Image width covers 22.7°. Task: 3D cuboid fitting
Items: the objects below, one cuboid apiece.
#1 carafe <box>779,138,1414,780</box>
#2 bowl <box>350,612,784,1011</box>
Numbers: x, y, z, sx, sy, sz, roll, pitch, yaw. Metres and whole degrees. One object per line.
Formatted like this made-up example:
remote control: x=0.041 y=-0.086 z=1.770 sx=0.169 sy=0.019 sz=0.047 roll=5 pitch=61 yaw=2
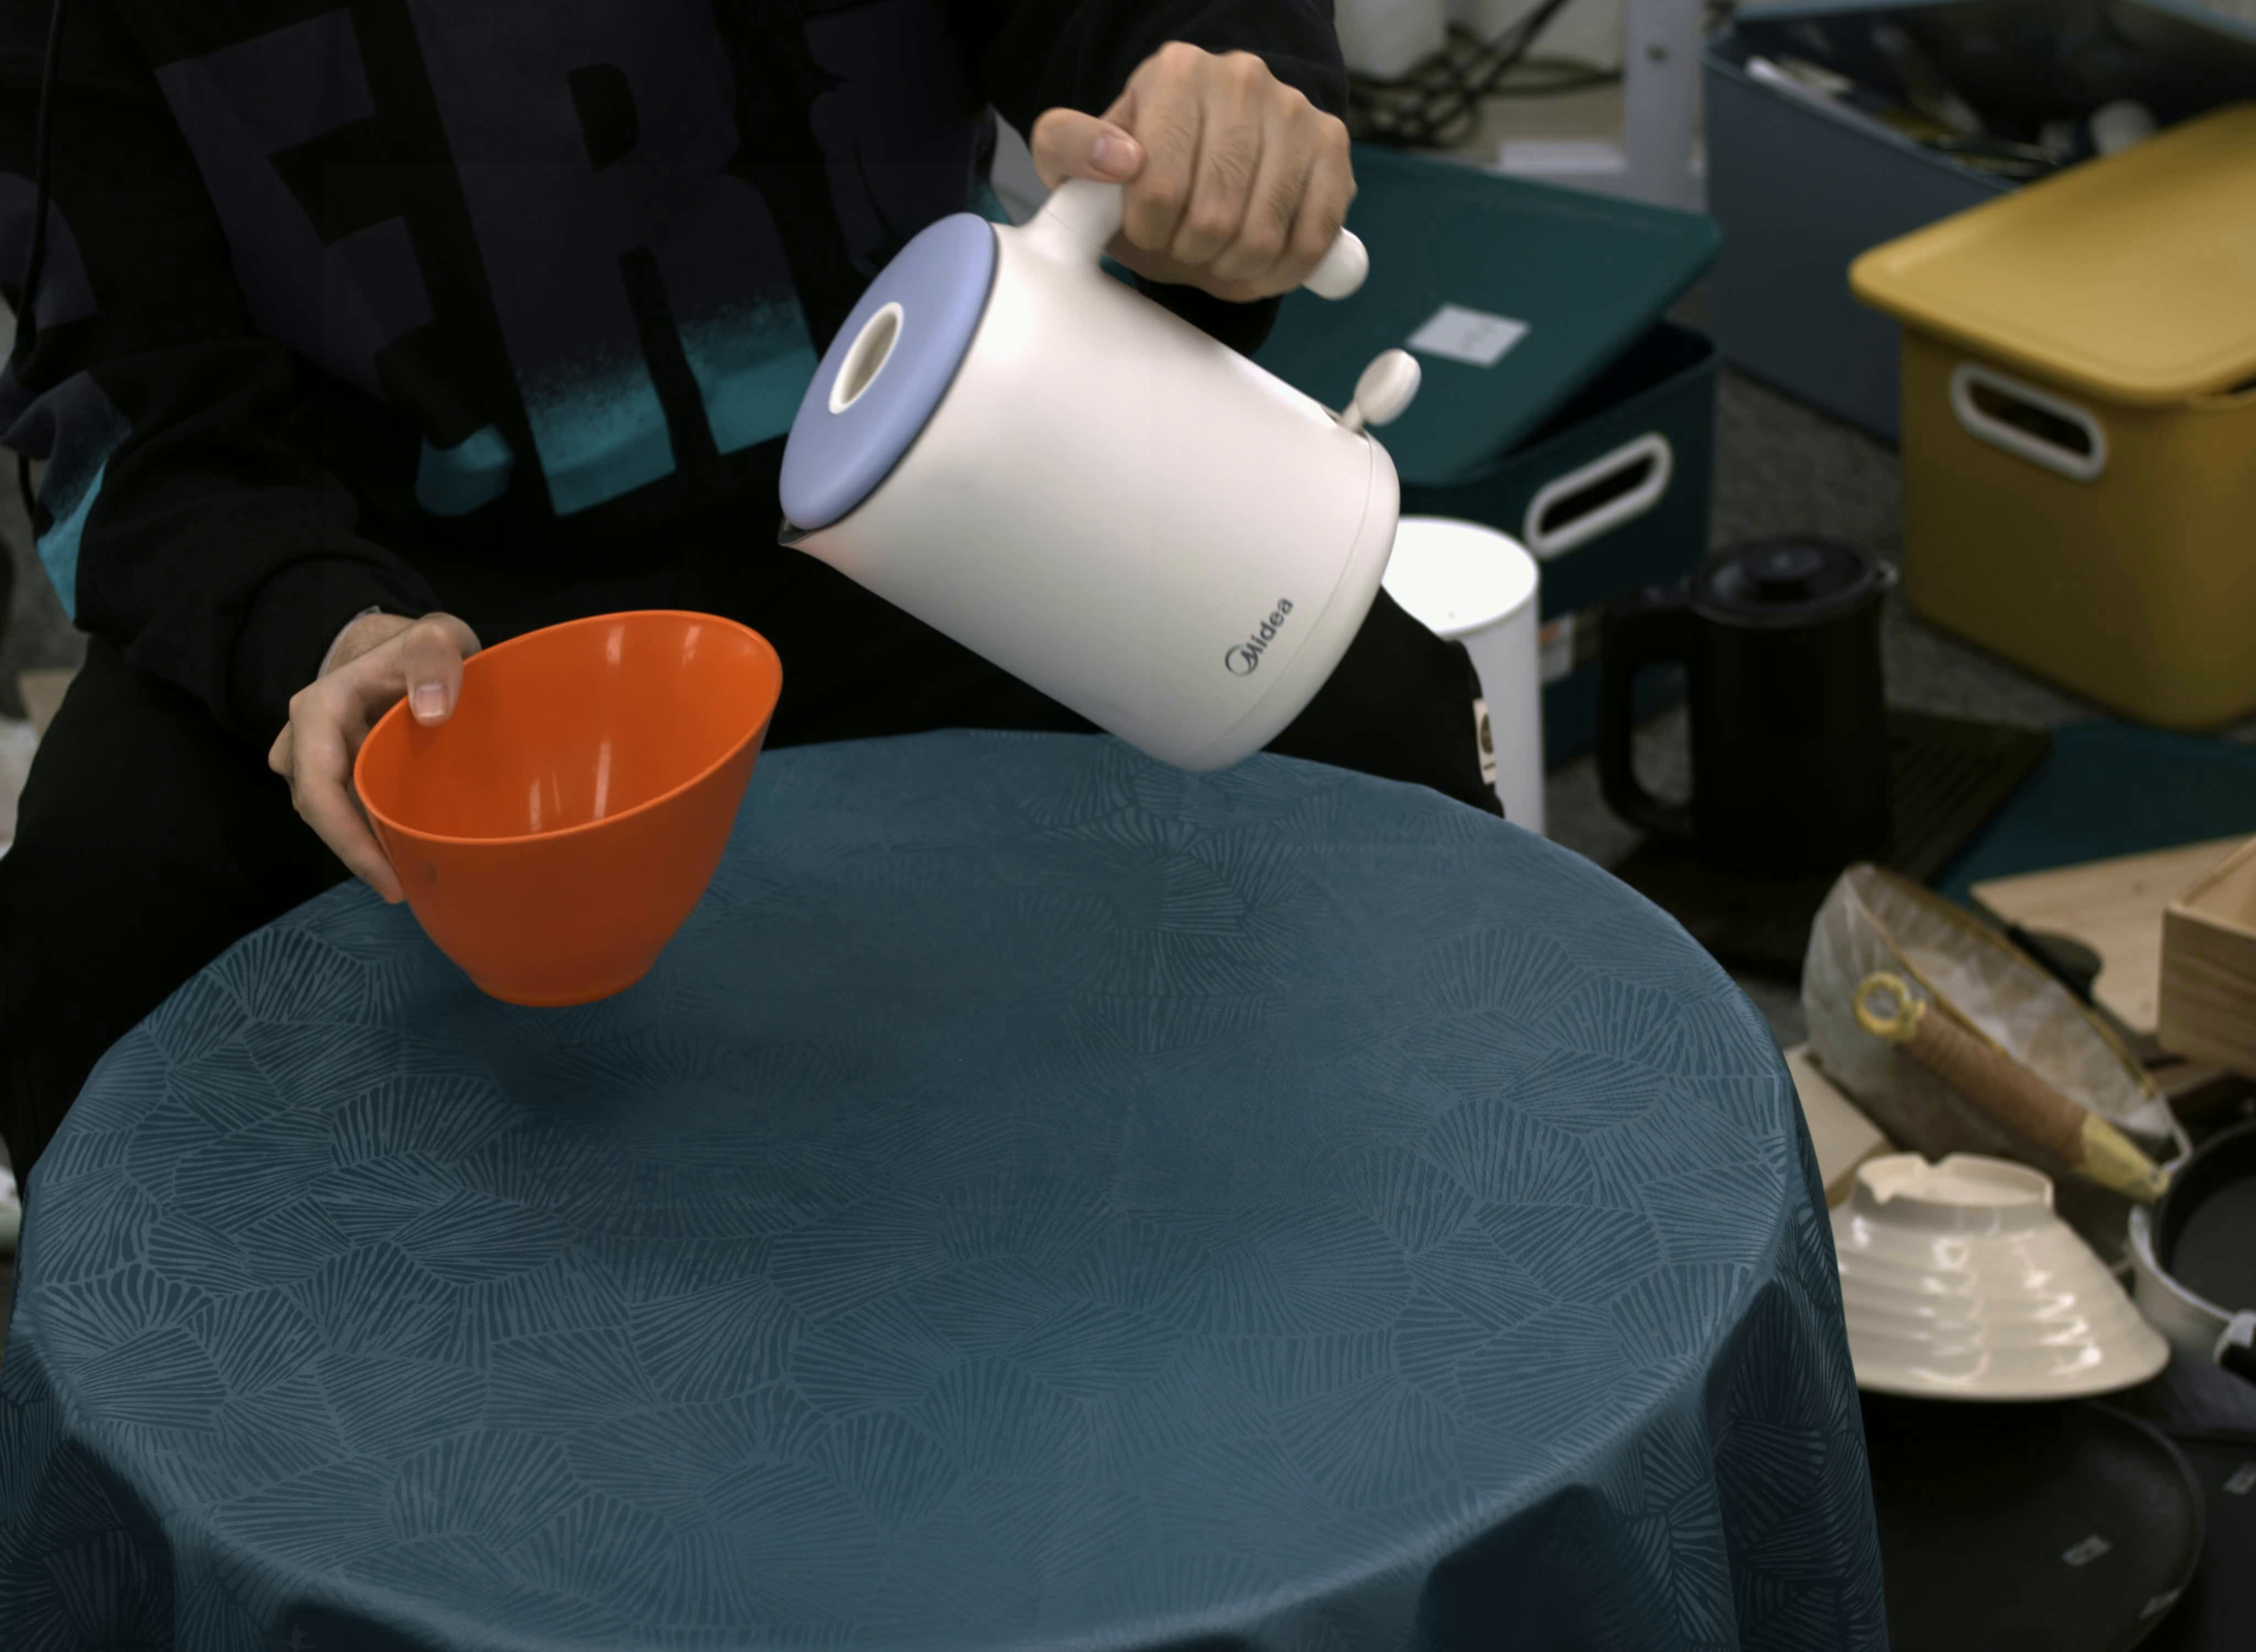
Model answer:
carafe: x=0.002 y=-0.130 z=1.870 sx=0.181 sy=0.190 sz=0.133 roll=34 pitch=8 yaw=-23
bowl: x=-0.187 y=0.002 z=1.904 sx=0.147 sy=0.103 sz=0.150 roll=-1 pitch=30 yaw=1
